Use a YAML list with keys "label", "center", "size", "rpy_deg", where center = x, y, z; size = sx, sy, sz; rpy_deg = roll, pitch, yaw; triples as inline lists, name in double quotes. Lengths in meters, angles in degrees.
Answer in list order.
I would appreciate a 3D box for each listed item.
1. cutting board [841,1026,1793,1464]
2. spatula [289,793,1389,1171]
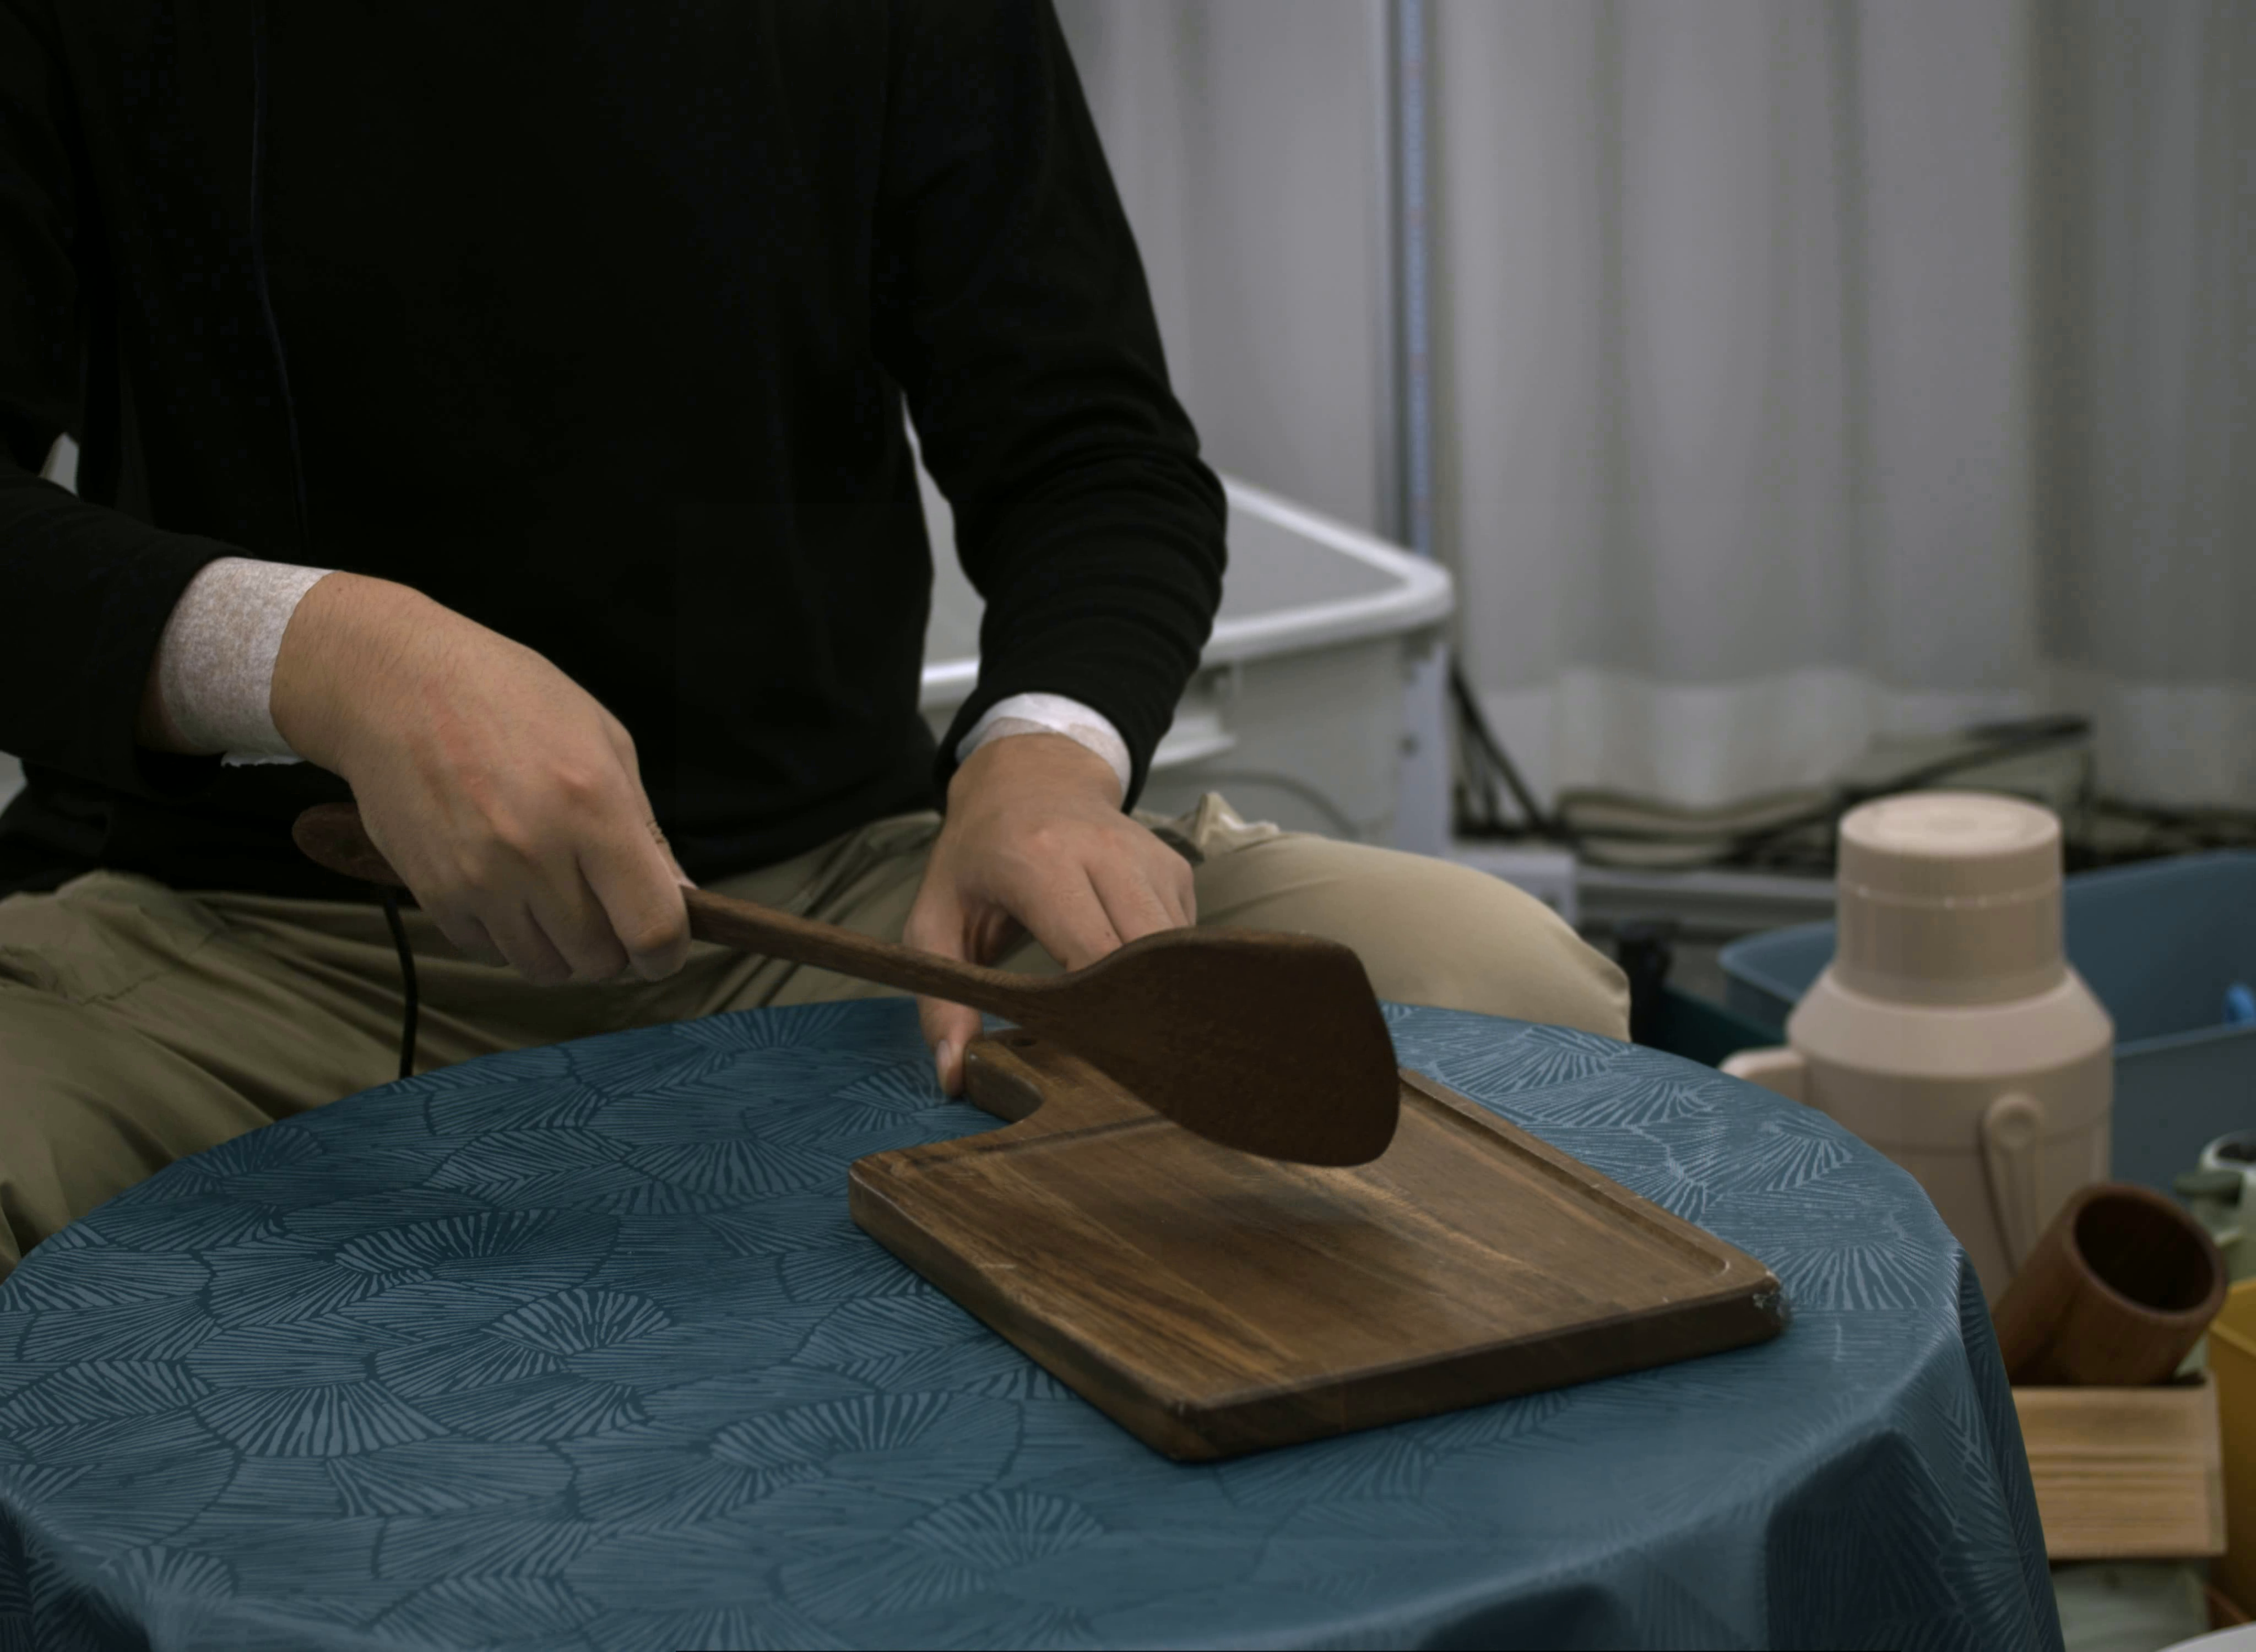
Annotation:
- label: "cutting board"
  center: [0.030, 0.114, 1.671]
  size: [0.200, 0.023, 0.355]
  rpy_deg: [-9, 16, -23]
- label: "spatula"
  center: [-0.096, 0.036, 1.690]
  size: [0.387, 0.095, 0.016]
  rpy_deg: [13, 45, 25]
